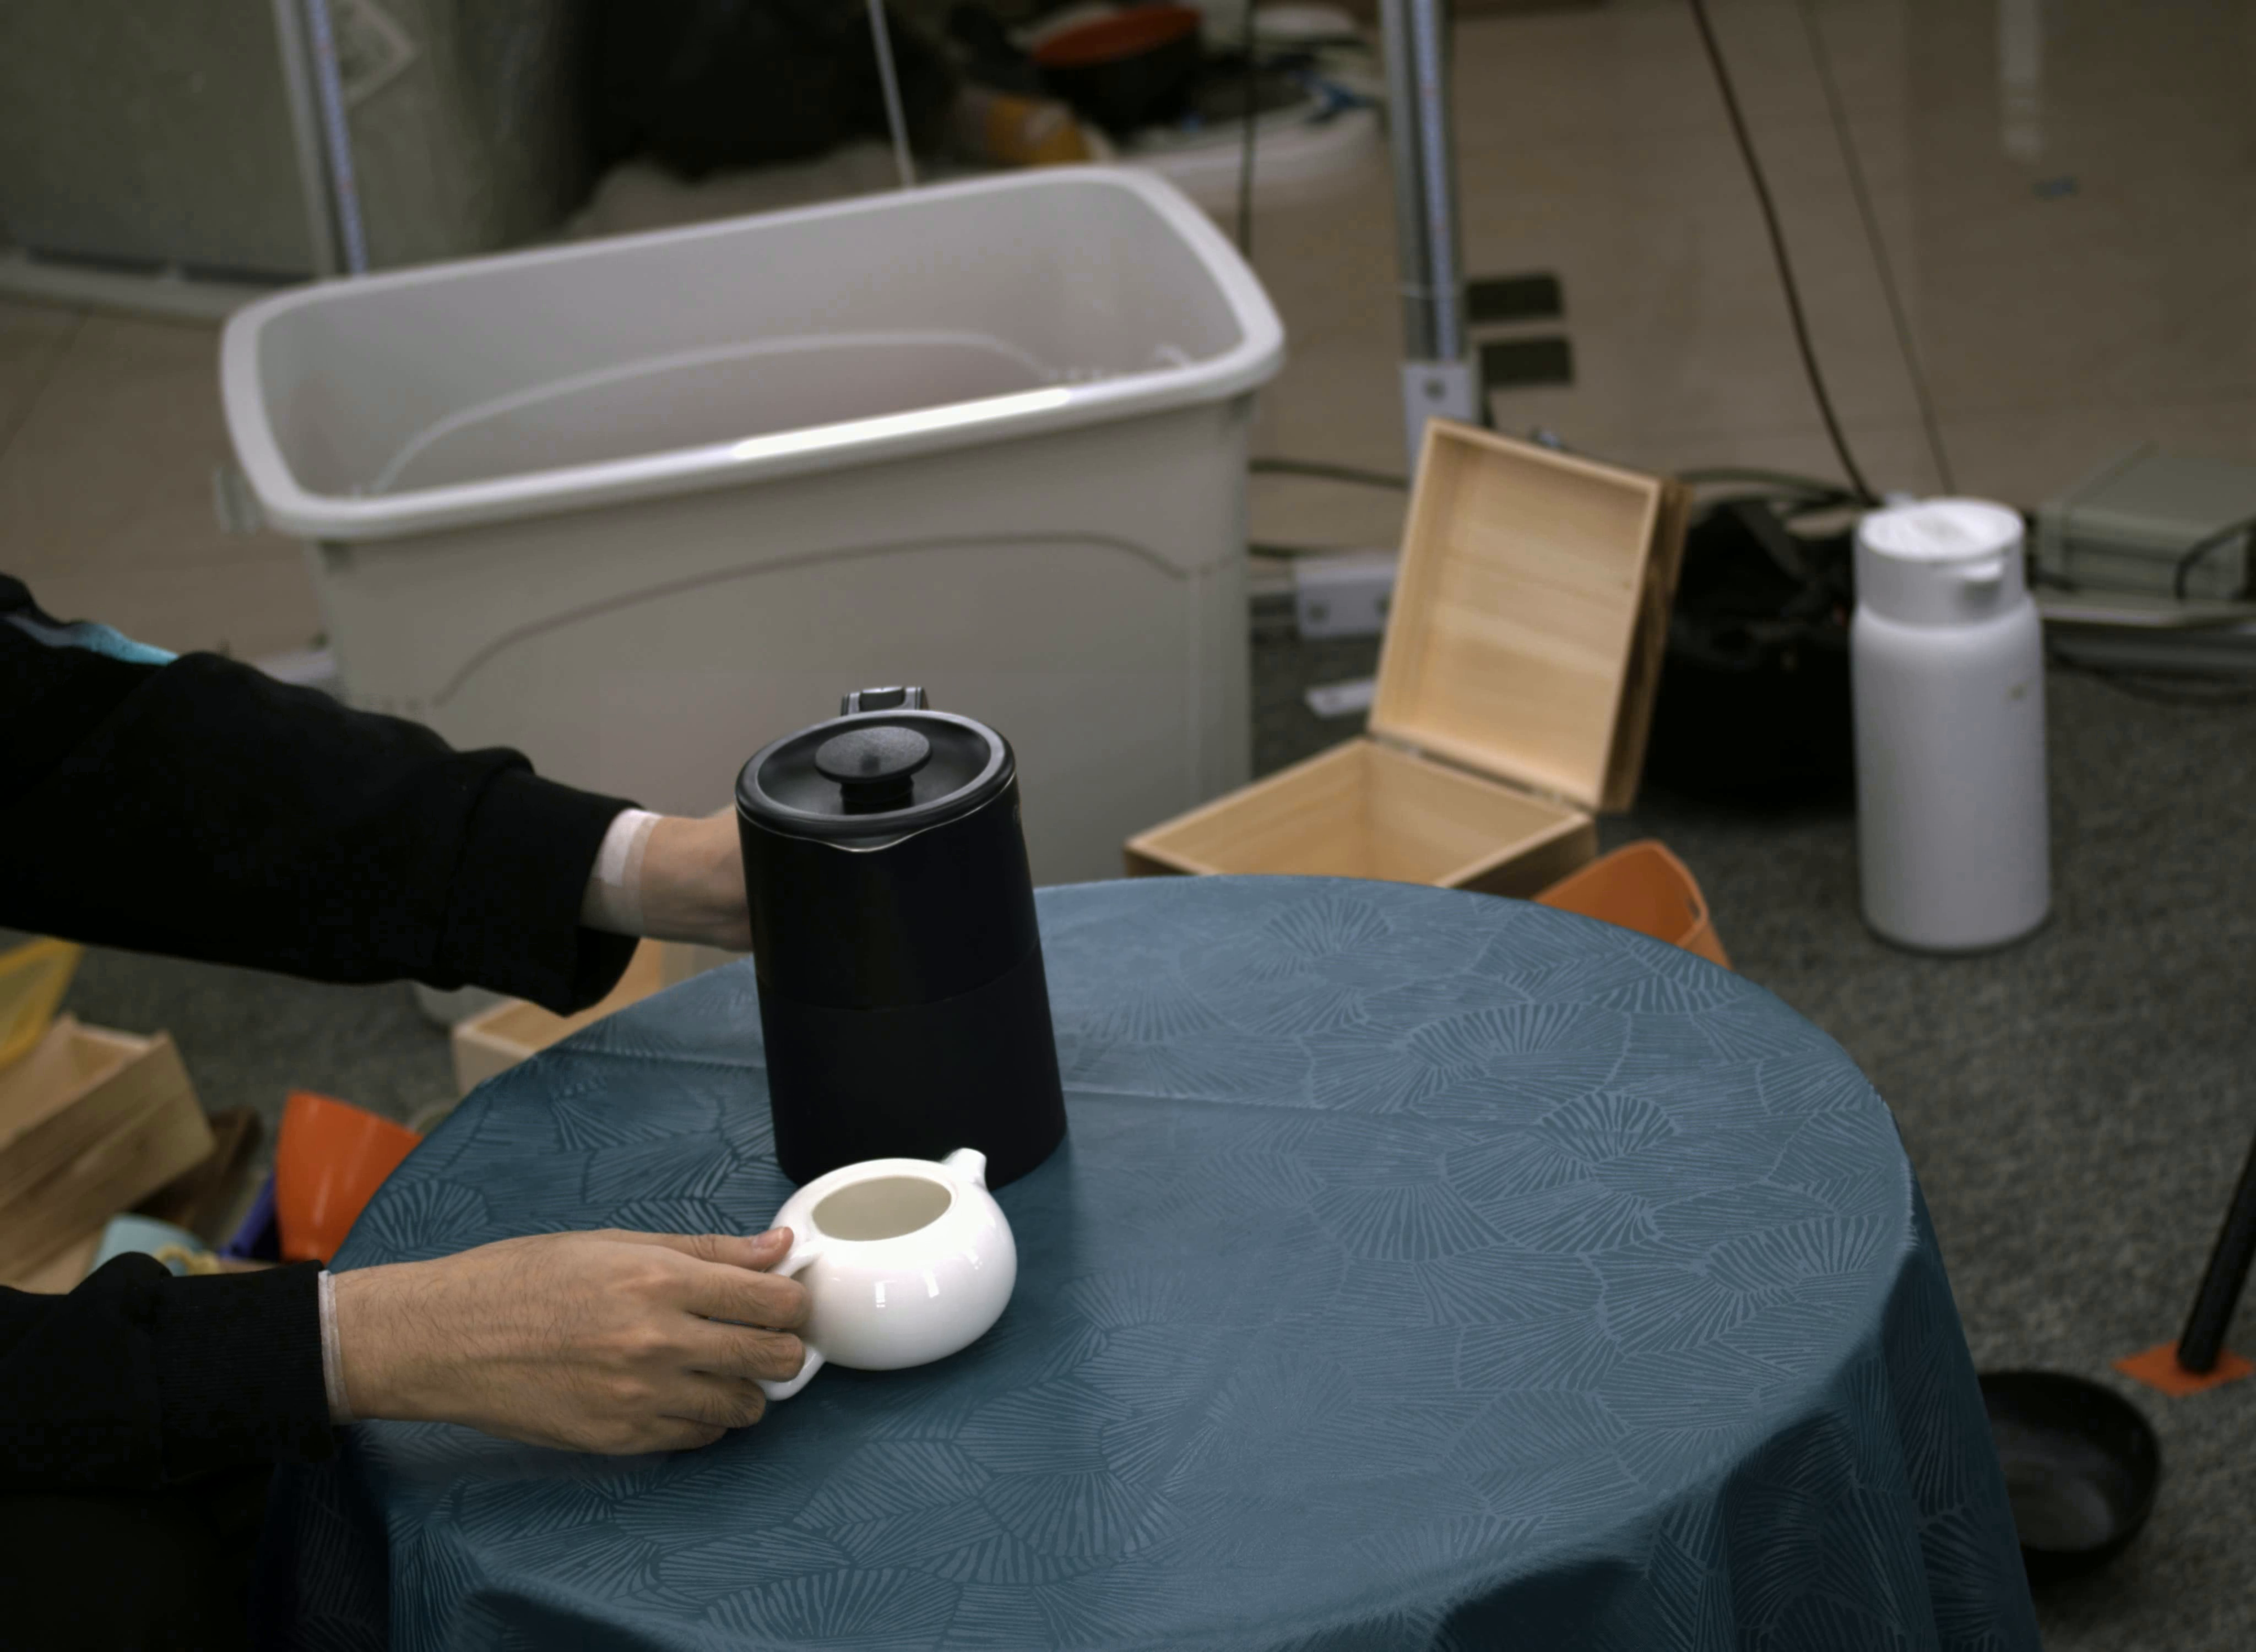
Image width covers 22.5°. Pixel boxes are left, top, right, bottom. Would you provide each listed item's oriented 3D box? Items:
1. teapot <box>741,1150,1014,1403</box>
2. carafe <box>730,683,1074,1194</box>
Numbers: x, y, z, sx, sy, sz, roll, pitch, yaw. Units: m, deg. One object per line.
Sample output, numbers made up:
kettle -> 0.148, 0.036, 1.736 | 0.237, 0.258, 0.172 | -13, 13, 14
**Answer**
teapot -> -0.094, 0.164, 2.048 | 0.093, 0.057, 0.126 | 16, 34, 33
carafe -> -0.089, 0.036, 2.181 | 0.114, 0.176, 0.169 | -7, 28, 2
